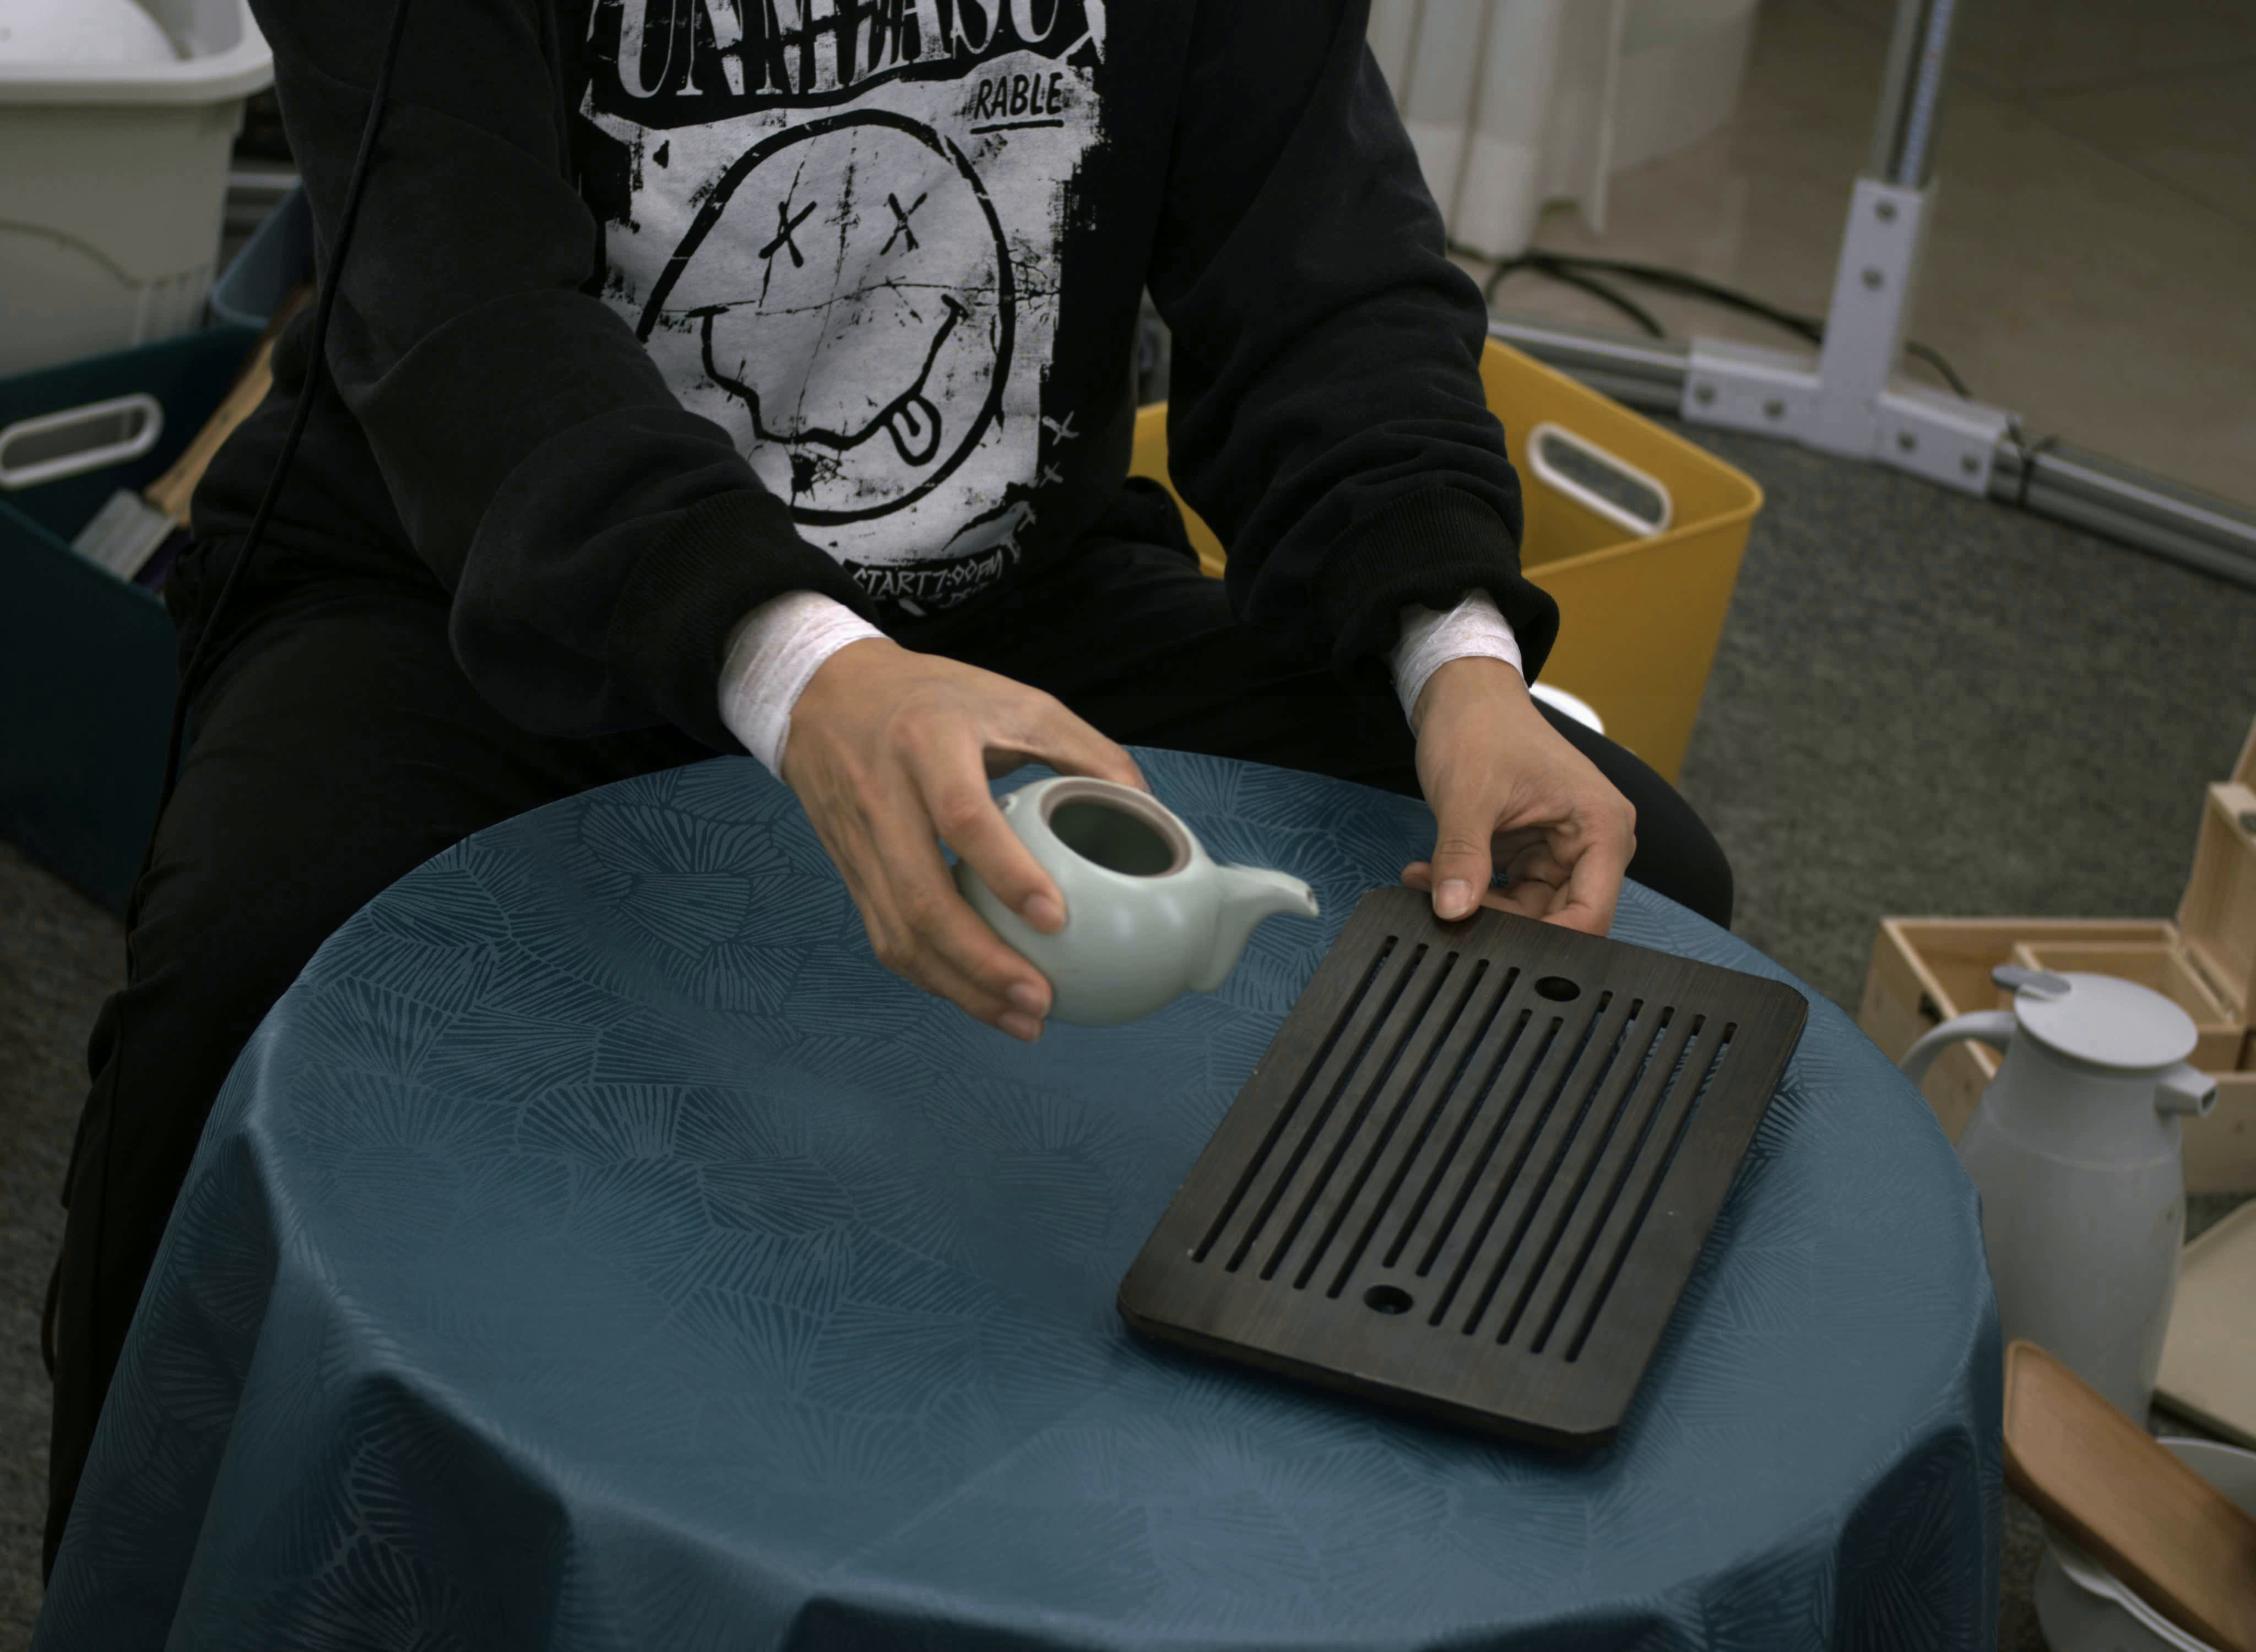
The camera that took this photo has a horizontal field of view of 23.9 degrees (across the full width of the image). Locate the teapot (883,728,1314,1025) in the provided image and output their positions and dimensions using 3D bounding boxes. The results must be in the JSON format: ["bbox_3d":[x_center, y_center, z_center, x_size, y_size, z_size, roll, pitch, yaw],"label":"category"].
[{"bbox_3d":[-0.016,0.023,1.748,0.143,0.074,0.089,24,29,-2],"label":"teapot"}]

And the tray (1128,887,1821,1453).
[{"bbox_3d":[0.124,0.114,1.819,0.170,0.018,0.306,14,30,14],"label":"tray"}]
